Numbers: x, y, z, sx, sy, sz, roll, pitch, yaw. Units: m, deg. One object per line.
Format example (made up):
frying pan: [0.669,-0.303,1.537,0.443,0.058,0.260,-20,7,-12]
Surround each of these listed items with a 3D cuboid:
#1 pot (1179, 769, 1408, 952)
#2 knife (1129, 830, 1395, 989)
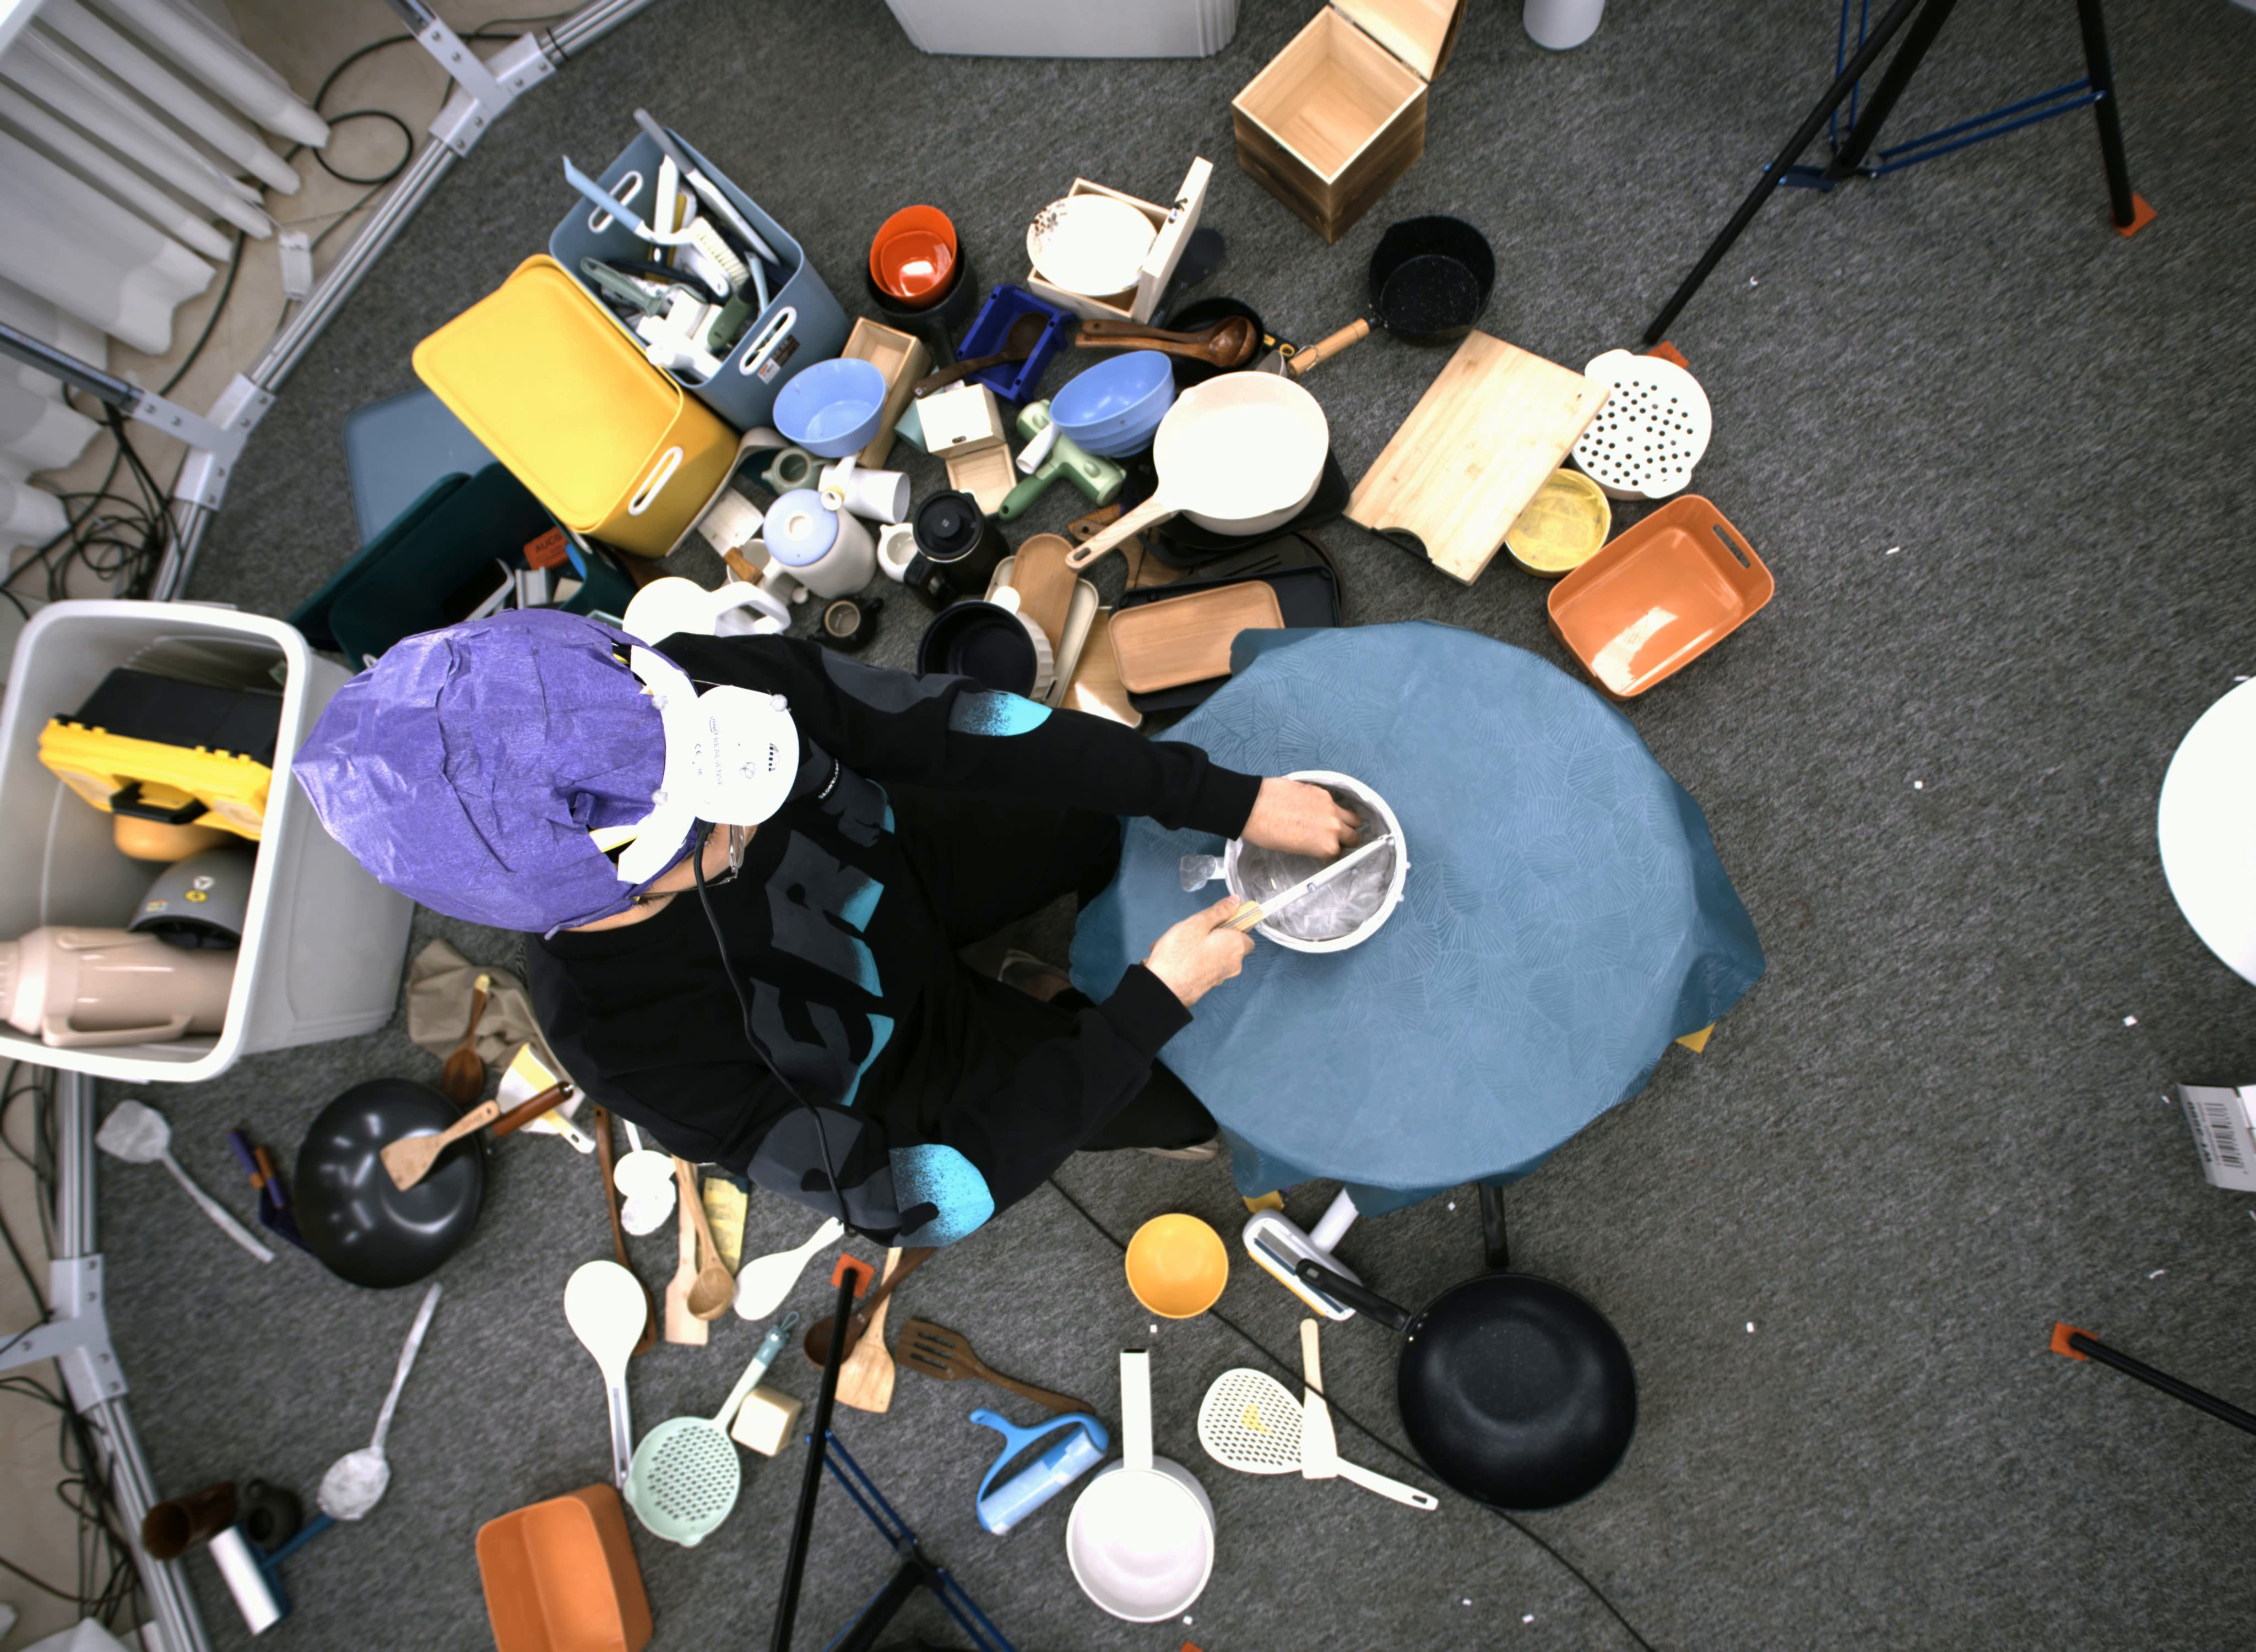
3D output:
pot: [0.165,0.040,1.411,0.234,0.137,0.177,-4,84,9]
knife: [0.131,0.075,1.299,0.311,0.116,0.021,-25,75,-28]
